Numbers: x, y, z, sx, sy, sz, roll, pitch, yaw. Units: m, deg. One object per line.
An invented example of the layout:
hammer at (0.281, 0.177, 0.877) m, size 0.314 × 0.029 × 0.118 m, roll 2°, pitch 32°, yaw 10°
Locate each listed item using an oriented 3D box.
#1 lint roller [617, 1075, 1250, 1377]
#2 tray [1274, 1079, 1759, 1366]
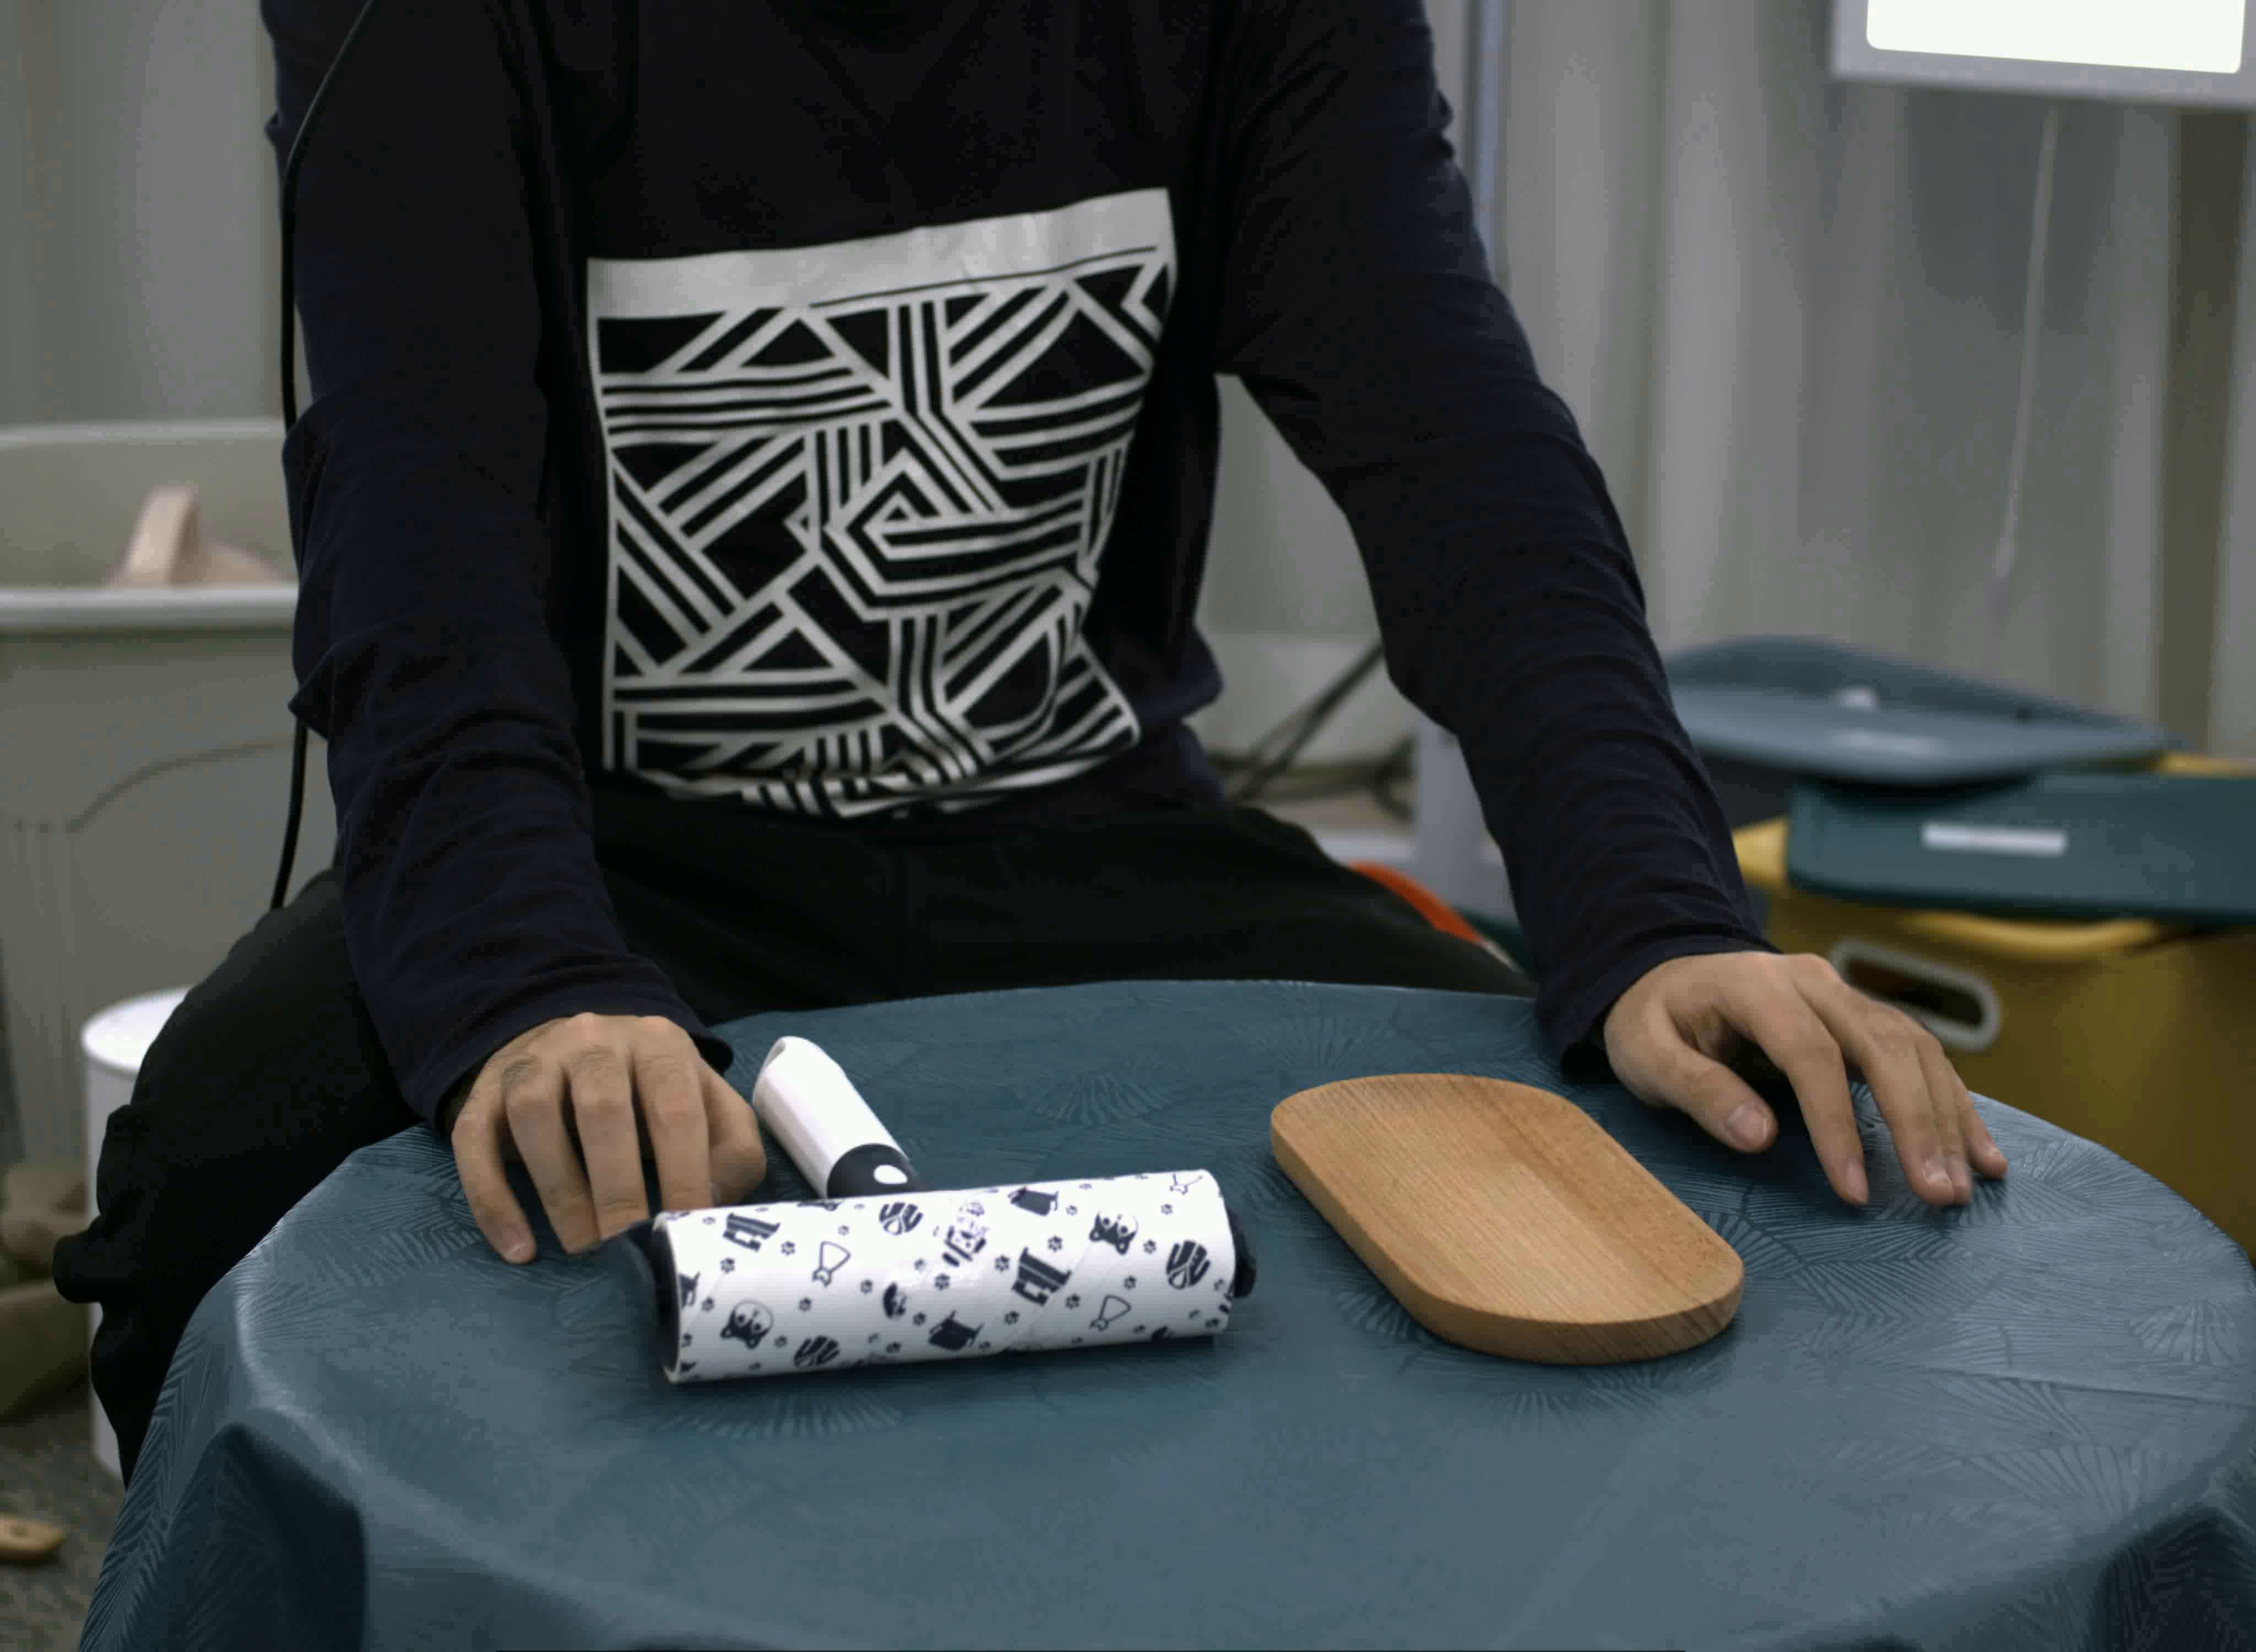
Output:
lint roller at (-0.081, 0.105, 1.576) m, size 0.176 × 0.051 × 0.245 m, roll -5°, pitch 13°, yaw -15°
tray at (0.114, 0.117, 1.584) m, size 0.102 × 0.020 × 0.229 m, roll -6°, pitch 17°, yaw -15°
